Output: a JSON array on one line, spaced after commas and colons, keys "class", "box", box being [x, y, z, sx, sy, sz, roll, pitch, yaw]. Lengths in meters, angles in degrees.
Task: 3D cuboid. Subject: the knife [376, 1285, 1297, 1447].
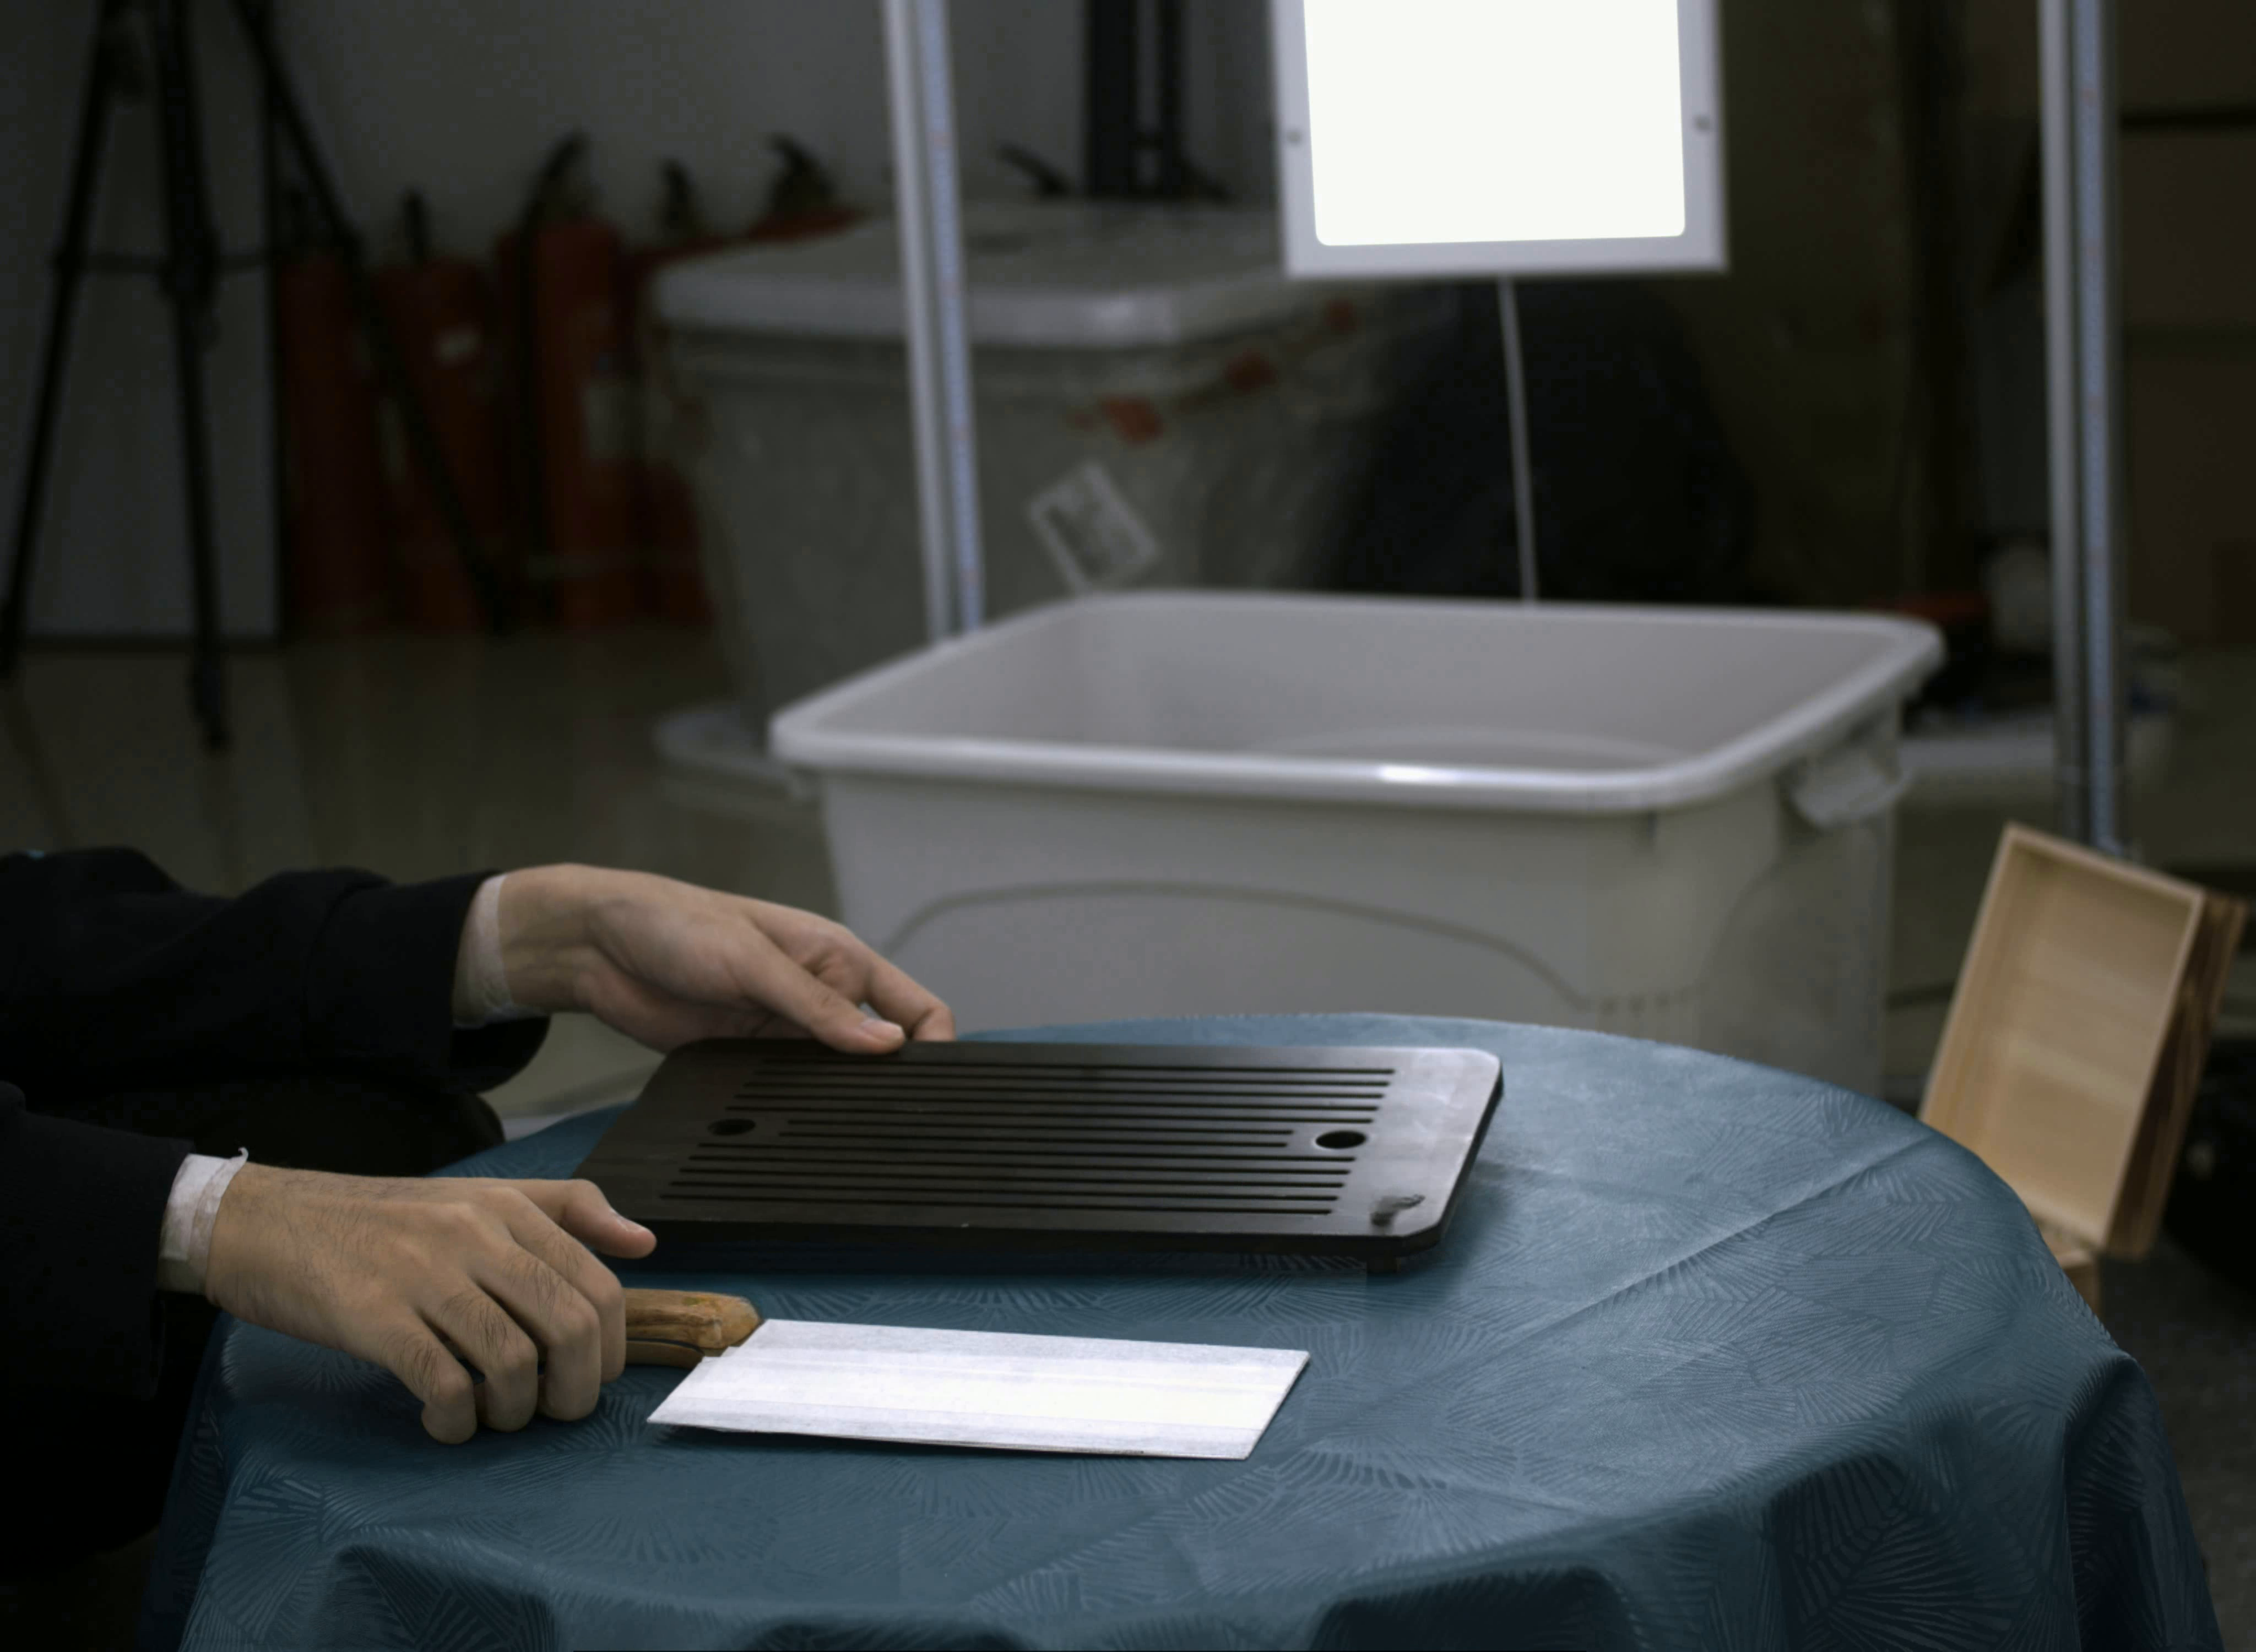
[{"class": "knife", "box": [-0.100, 0.171, 1.720, 0.309, 0.021, 0.091, 2, 17, 17]}]

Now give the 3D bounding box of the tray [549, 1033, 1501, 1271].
[{"class": "tray", "box": [-0.032, 0.111, 1.896, 0.309, 0.019, 0.168, 0, 20, 15]}]
